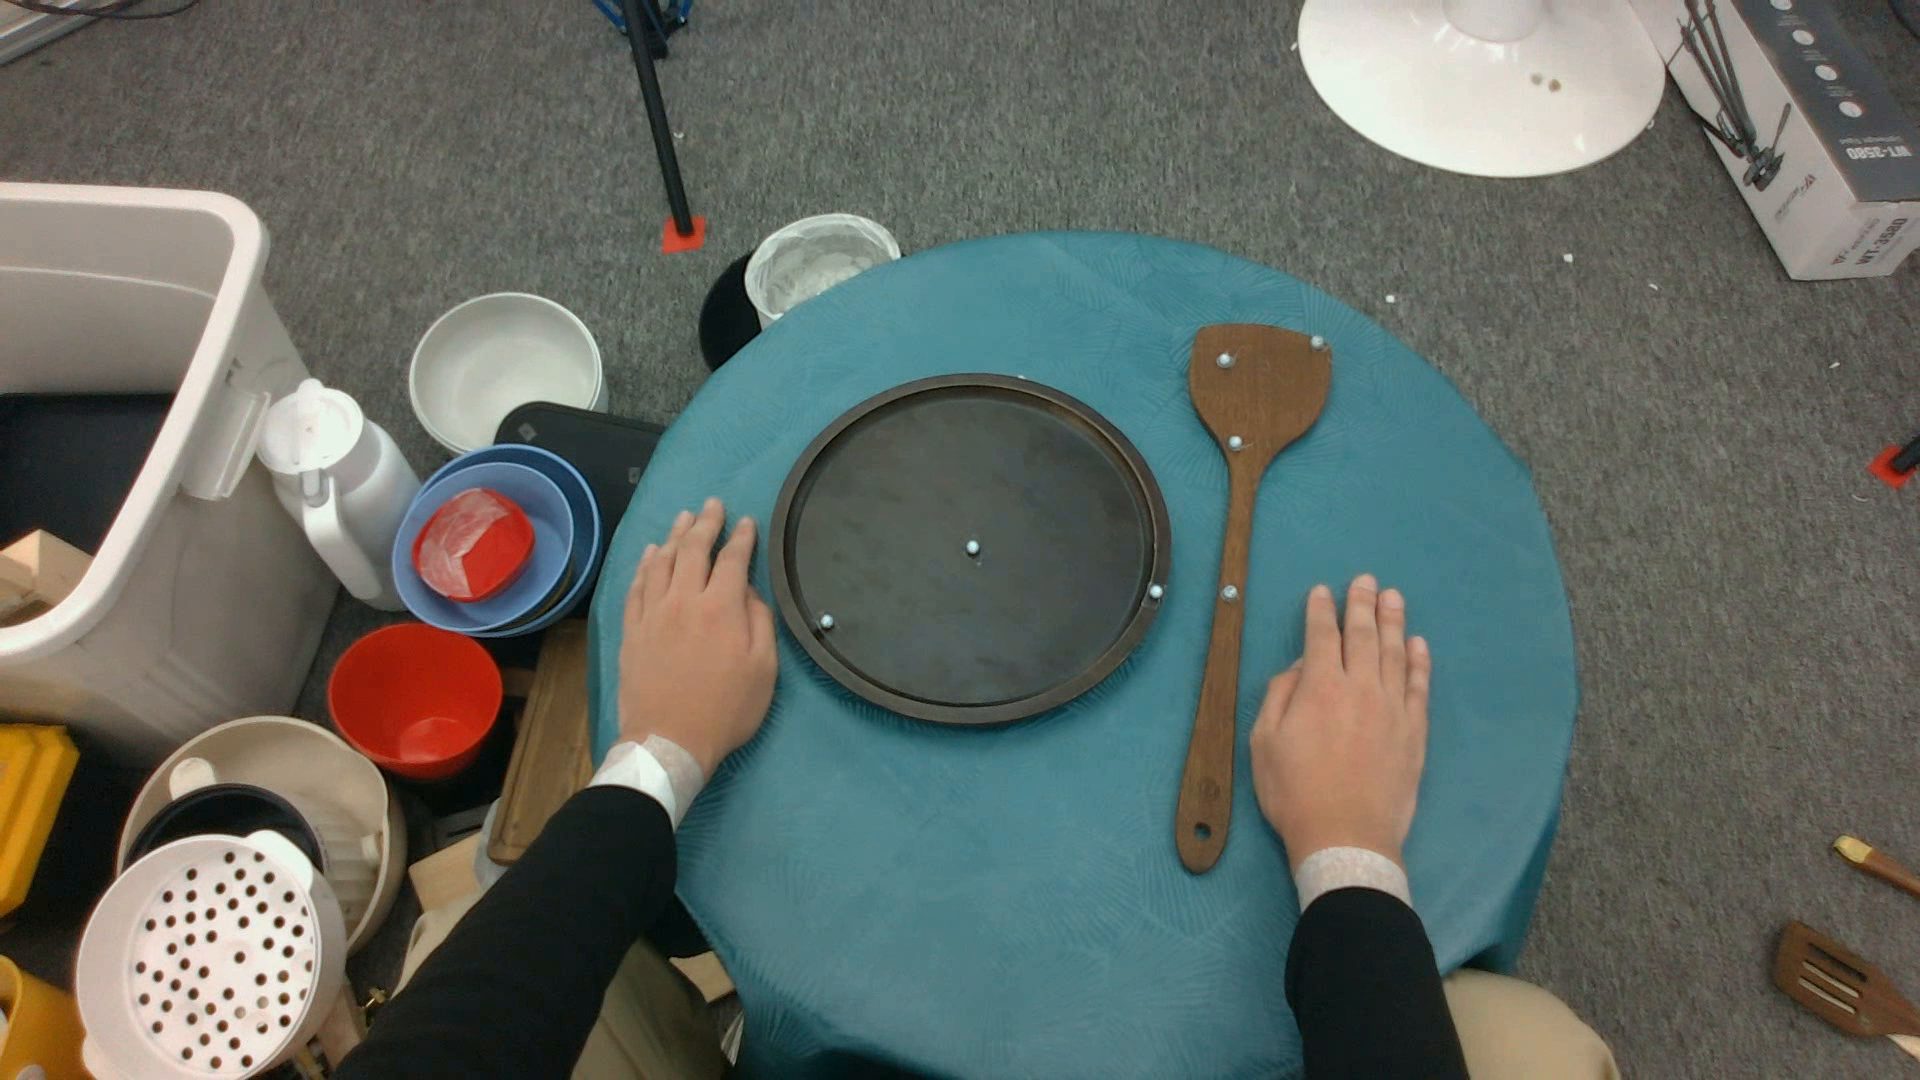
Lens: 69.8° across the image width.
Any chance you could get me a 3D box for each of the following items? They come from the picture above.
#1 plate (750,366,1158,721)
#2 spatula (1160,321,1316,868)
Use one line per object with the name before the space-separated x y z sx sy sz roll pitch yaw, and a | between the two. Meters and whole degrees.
plate | -0.004 -0.003 0.862 0.255 0.029 0.256 1 60 -1
spatula | 0.161 0.015 0.856 0.096 0.016 0.387 9 60 6
